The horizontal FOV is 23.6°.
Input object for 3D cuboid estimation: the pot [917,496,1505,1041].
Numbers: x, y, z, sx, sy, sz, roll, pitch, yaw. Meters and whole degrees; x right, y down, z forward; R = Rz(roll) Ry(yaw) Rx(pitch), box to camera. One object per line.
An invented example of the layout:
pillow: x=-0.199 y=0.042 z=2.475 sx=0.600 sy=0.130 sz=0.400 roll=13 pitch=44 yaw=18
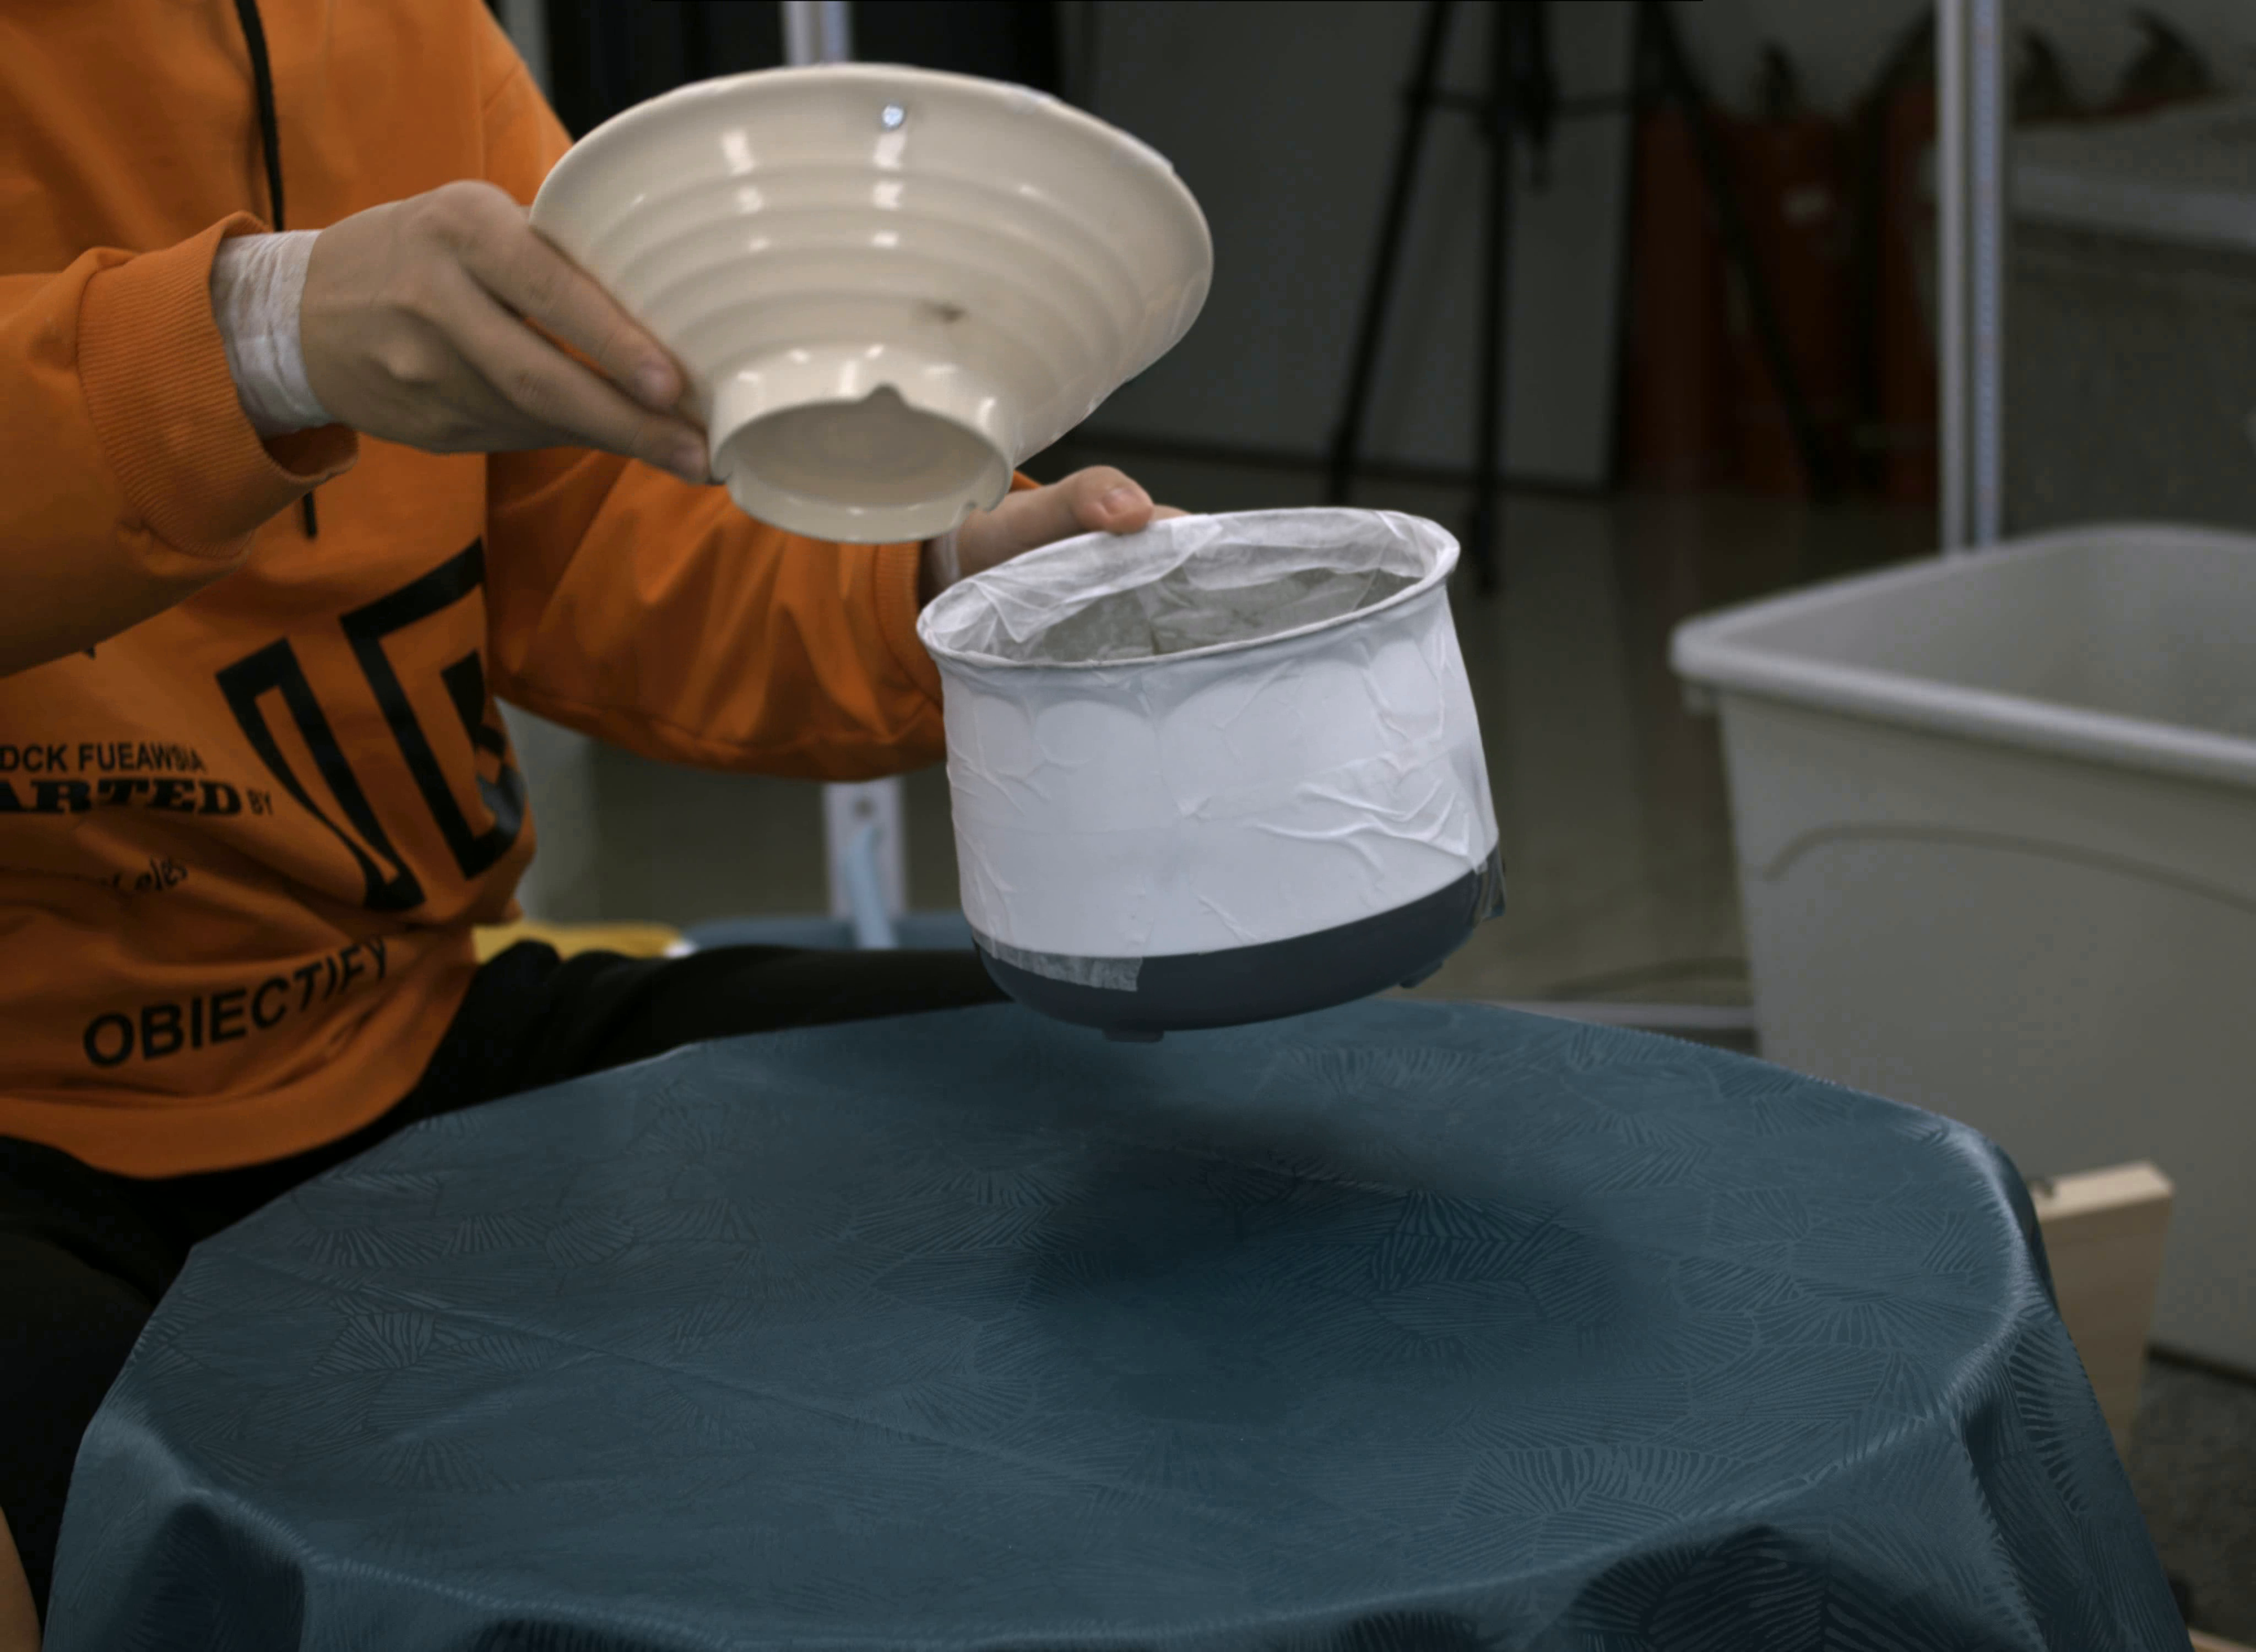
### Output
pot: x=0.022 y=-0.026 z=1.761 sx=0.176 sy=0.138 sz=0.235 roll=-12 pitch=16 yaw=-10

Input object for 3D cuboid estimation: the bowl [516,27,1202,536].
bowl: x=-0.077 y=-0.140 z=1.569 sx=0.201 sy=0.079 sz=0.204 roll=0 pitch=-28 yaw=-1
